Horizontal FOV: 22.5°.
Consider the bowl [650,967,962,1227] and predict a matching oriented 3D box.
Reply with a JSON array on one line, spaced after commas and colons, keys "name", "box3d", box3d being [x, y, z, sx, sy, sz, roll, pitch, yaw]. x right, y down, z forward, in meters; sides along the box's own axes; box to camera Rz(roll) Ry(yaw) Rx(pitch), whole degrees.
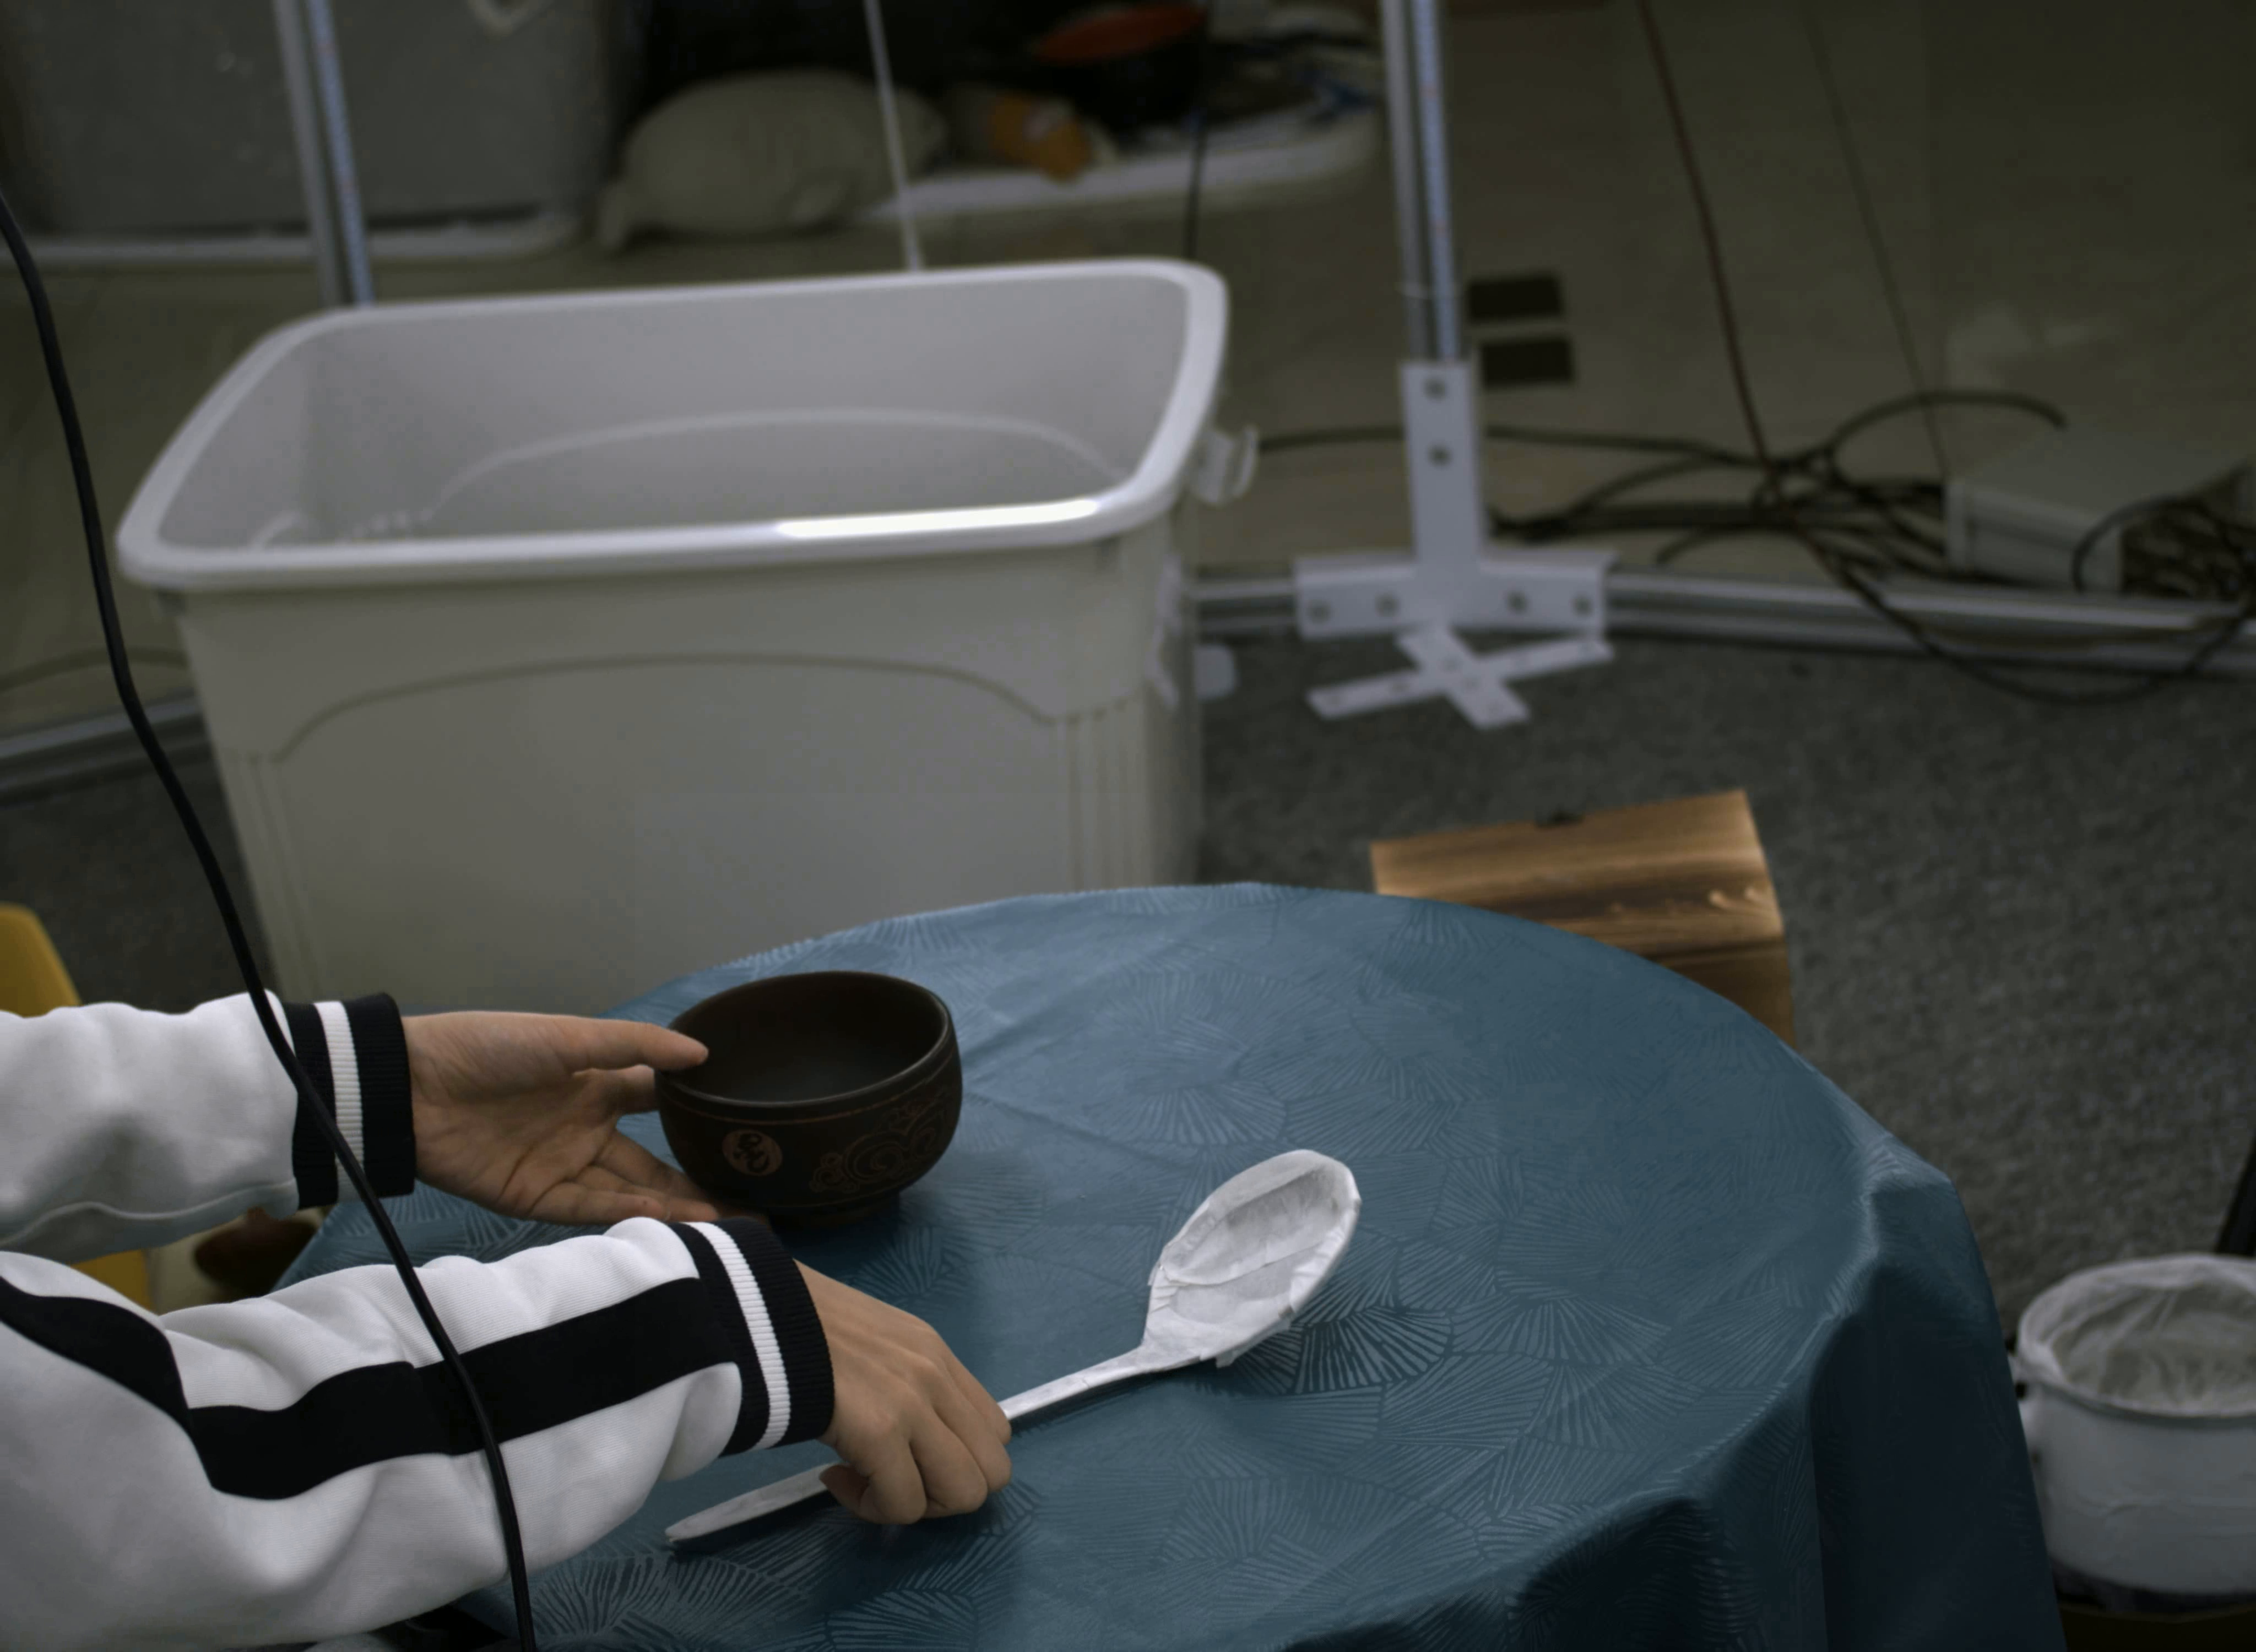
[{"name": "bowl", "box3d": [-0.120, 0.109, 2.155, 0.118, 0.071, 0.116, -6, 25, 3]}]

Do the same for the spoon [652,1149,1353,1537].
[{"name": "spoon", "box3d": [-0.046, 0.180, 2.002, 0.276, 0.060, 0.100, -16, 18, -21]}]
